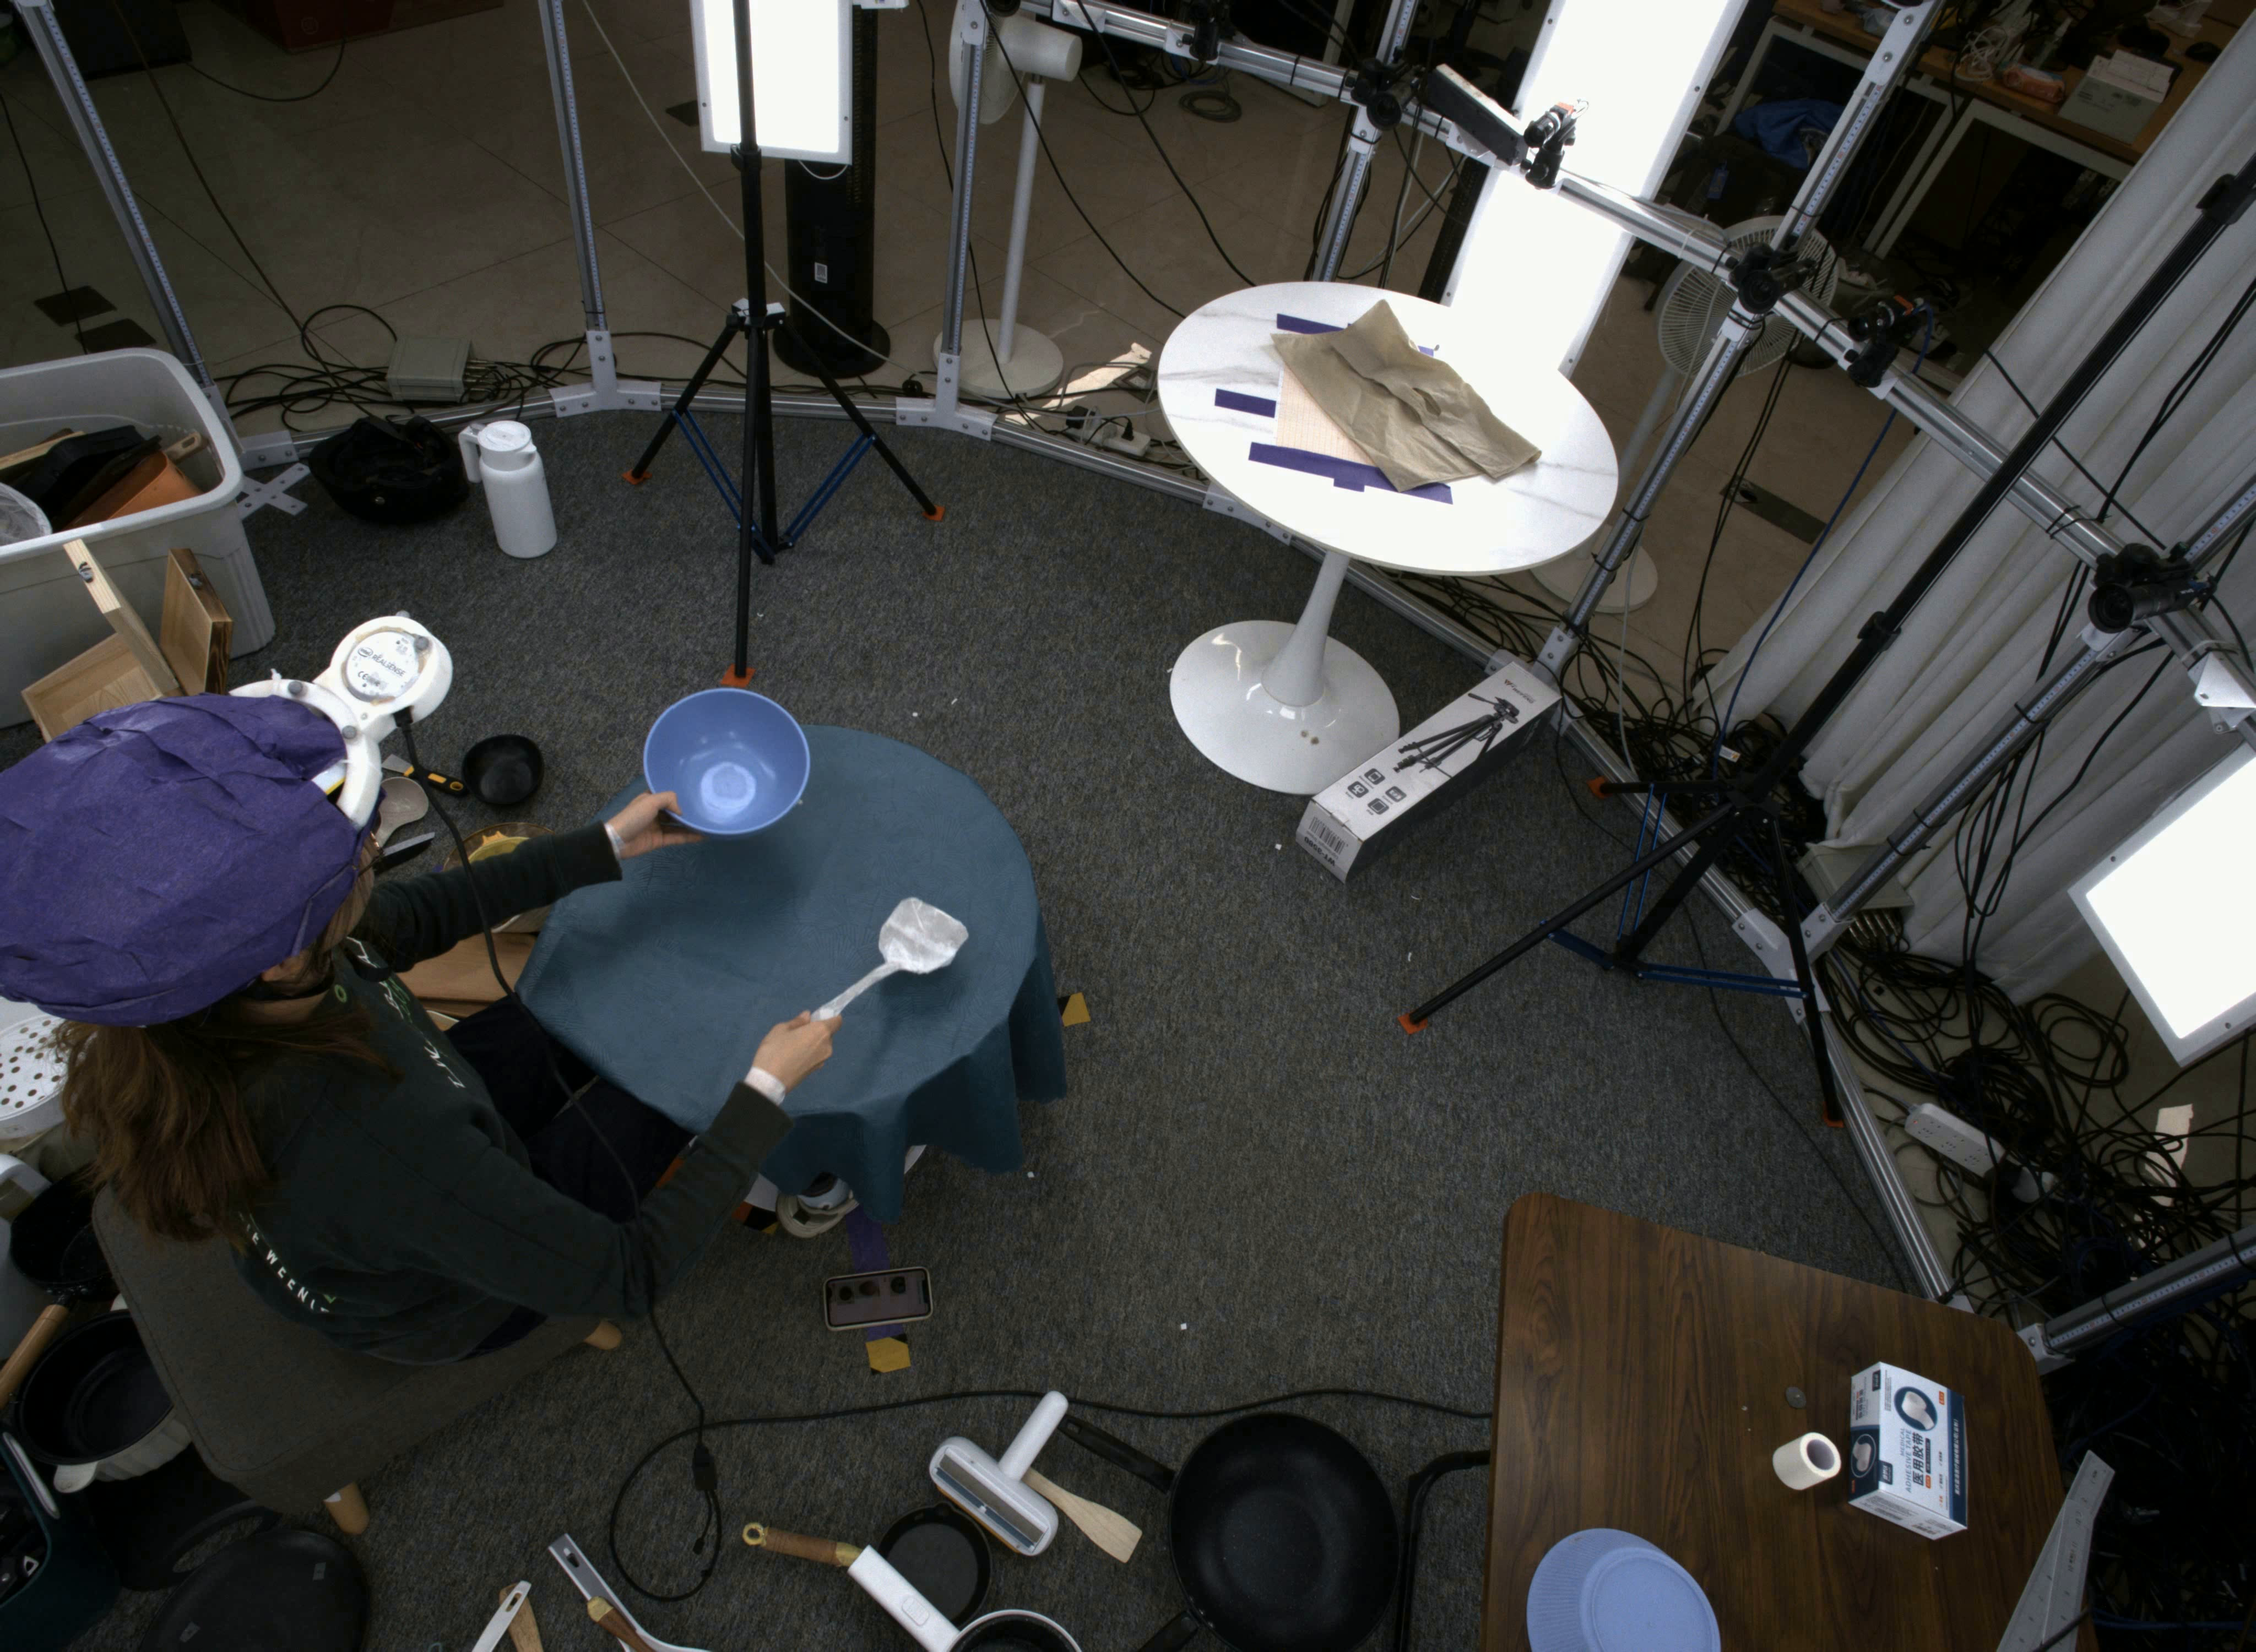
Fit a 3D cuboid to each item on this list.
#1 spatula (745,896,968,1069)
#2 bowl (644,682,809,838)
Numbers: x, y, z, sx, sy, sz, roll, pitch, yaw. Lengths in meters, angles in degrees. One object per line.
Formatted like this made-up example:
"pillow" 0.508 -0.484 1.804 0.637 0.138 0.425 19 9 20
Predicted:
"spatula" -0.308 0.176 1.477 0.097 0.045 0.365 30 28 11
"bowl" -0.500 -0.069 1.604 0.198 0.095 0.195 8 67 -17
